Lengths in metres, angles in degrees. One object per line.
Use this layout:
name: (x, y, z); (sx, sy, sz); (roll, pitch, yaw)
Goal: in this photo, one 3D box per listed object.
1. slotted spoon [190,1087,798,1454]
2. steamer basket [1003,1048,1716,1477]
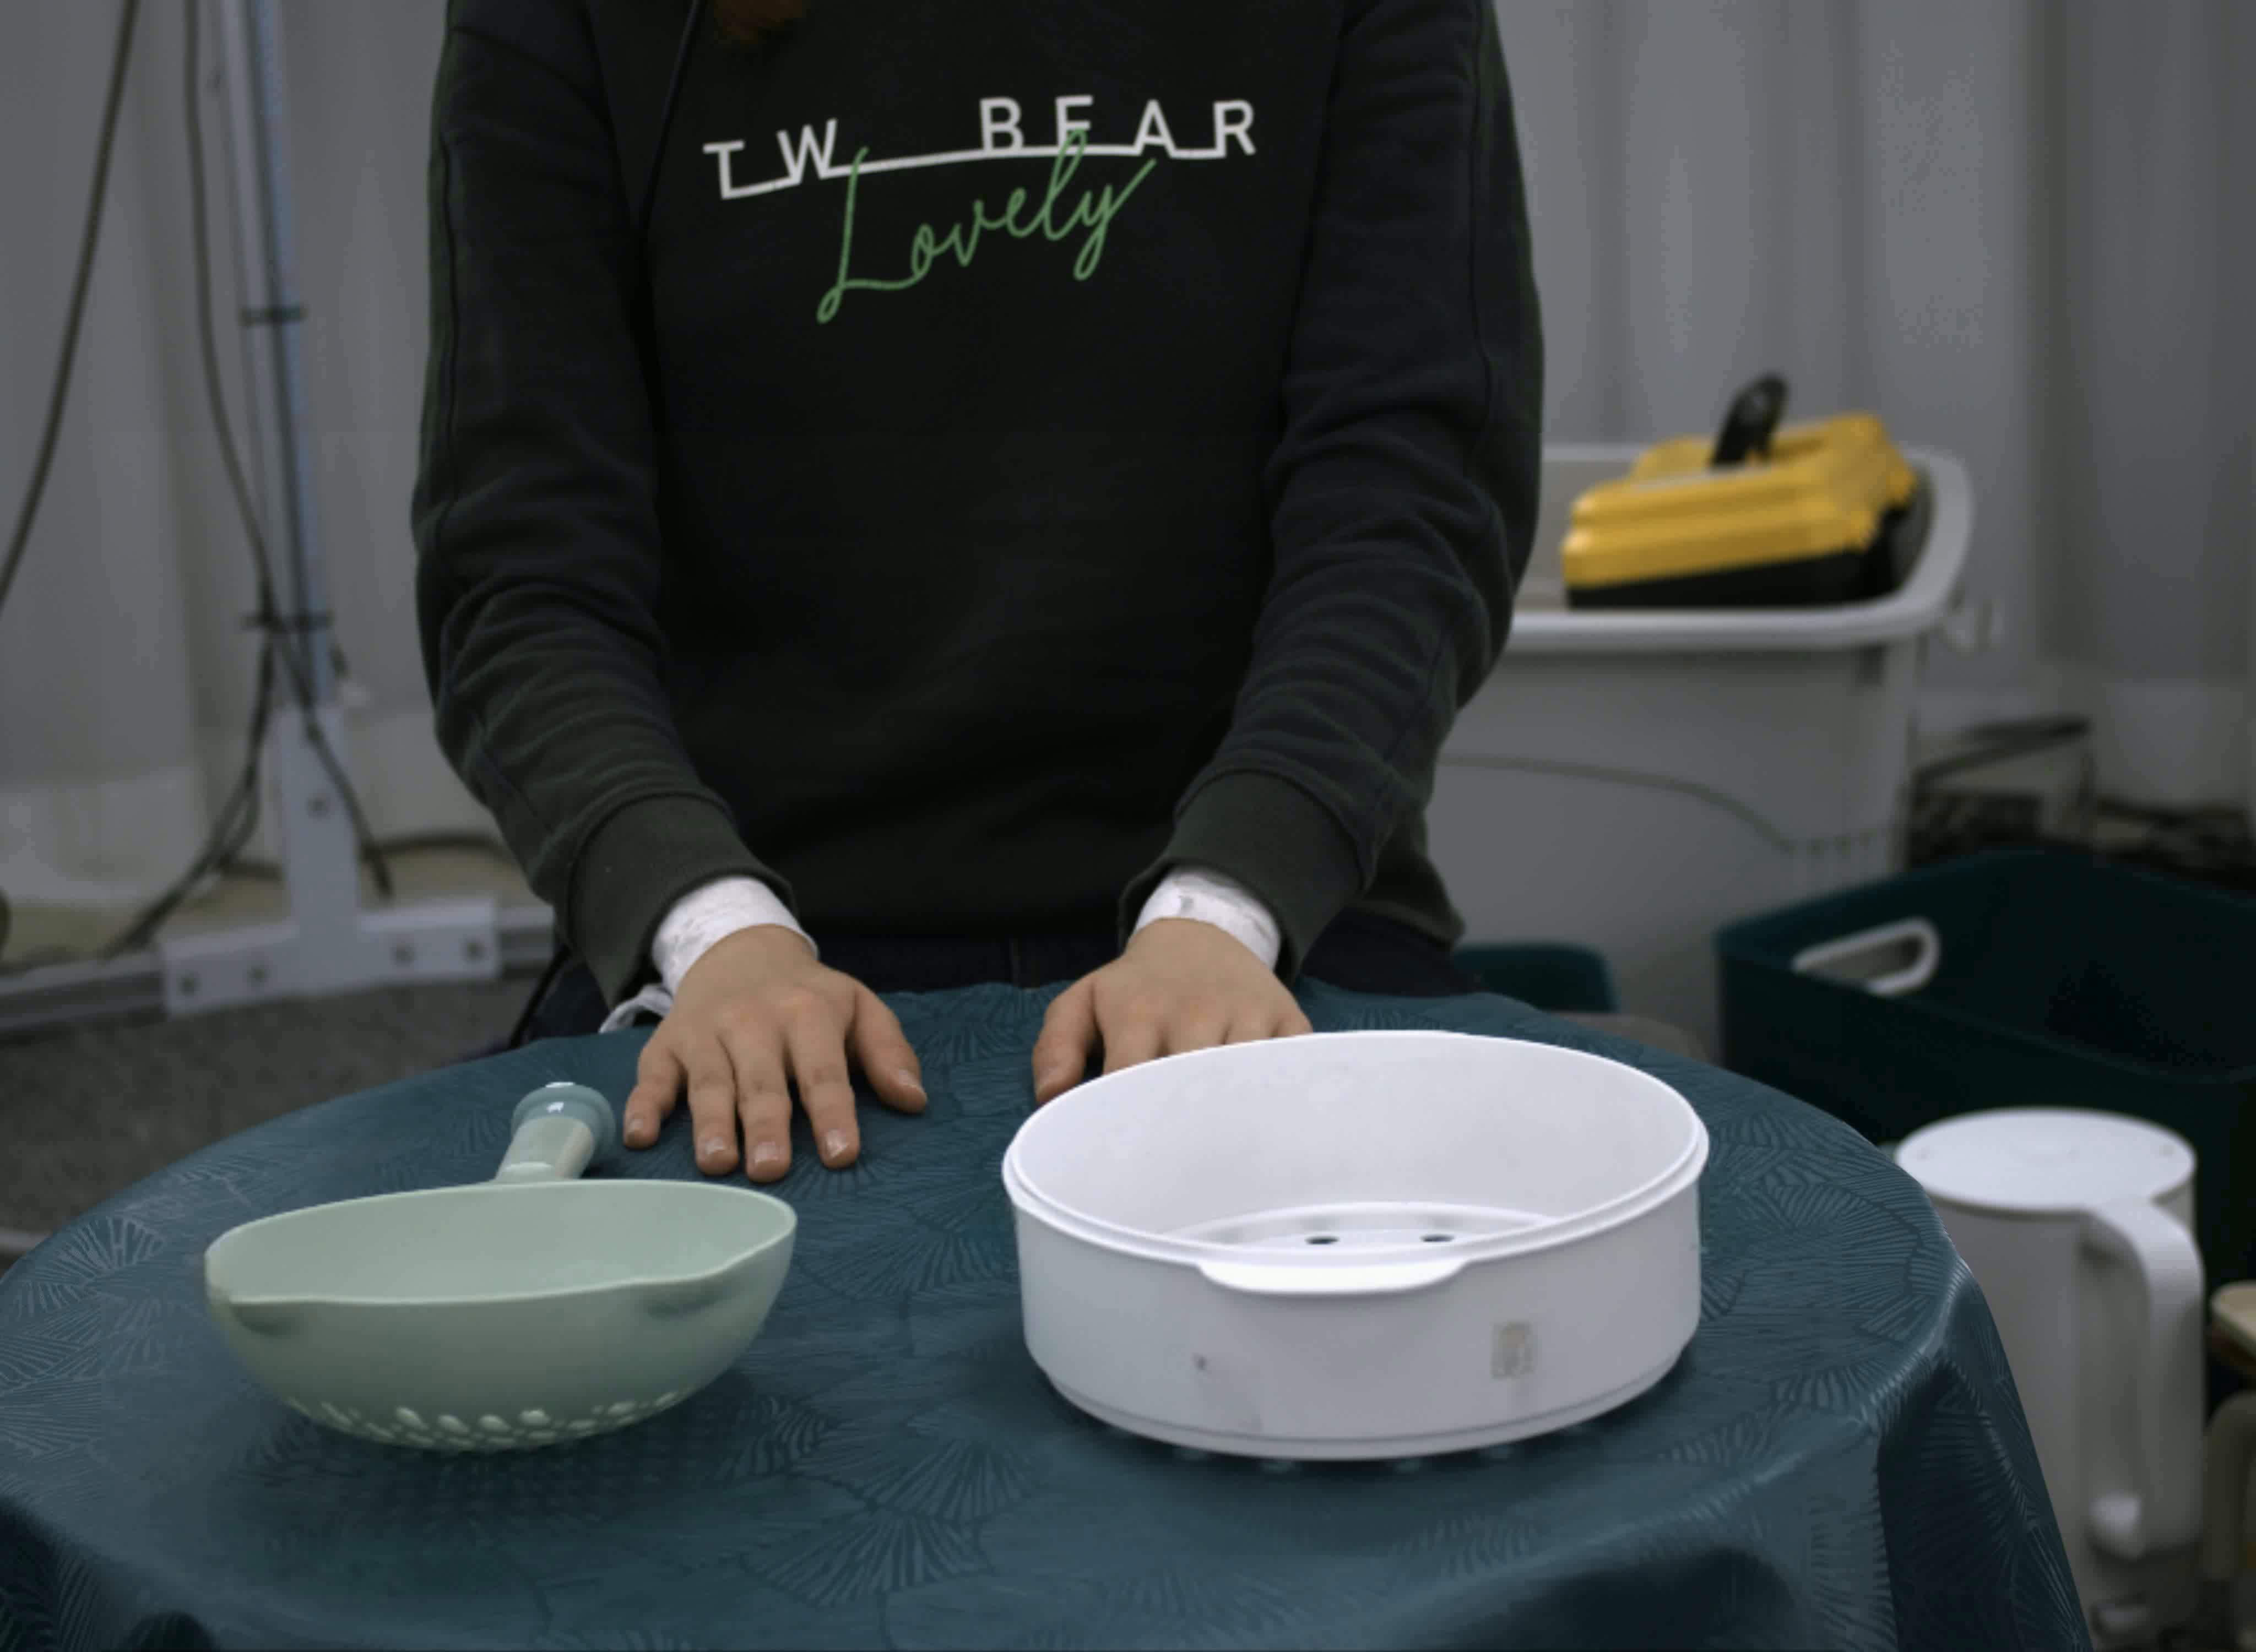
slotted spoon: (-0.177, 0.116, 1.622); (0.169, 0.075, 0.361); (-2, 15, -1)
steamer basket: (0.066, 0.123, 1.549); (0.201, 0.069, 0.232); (0, 14, 5)
